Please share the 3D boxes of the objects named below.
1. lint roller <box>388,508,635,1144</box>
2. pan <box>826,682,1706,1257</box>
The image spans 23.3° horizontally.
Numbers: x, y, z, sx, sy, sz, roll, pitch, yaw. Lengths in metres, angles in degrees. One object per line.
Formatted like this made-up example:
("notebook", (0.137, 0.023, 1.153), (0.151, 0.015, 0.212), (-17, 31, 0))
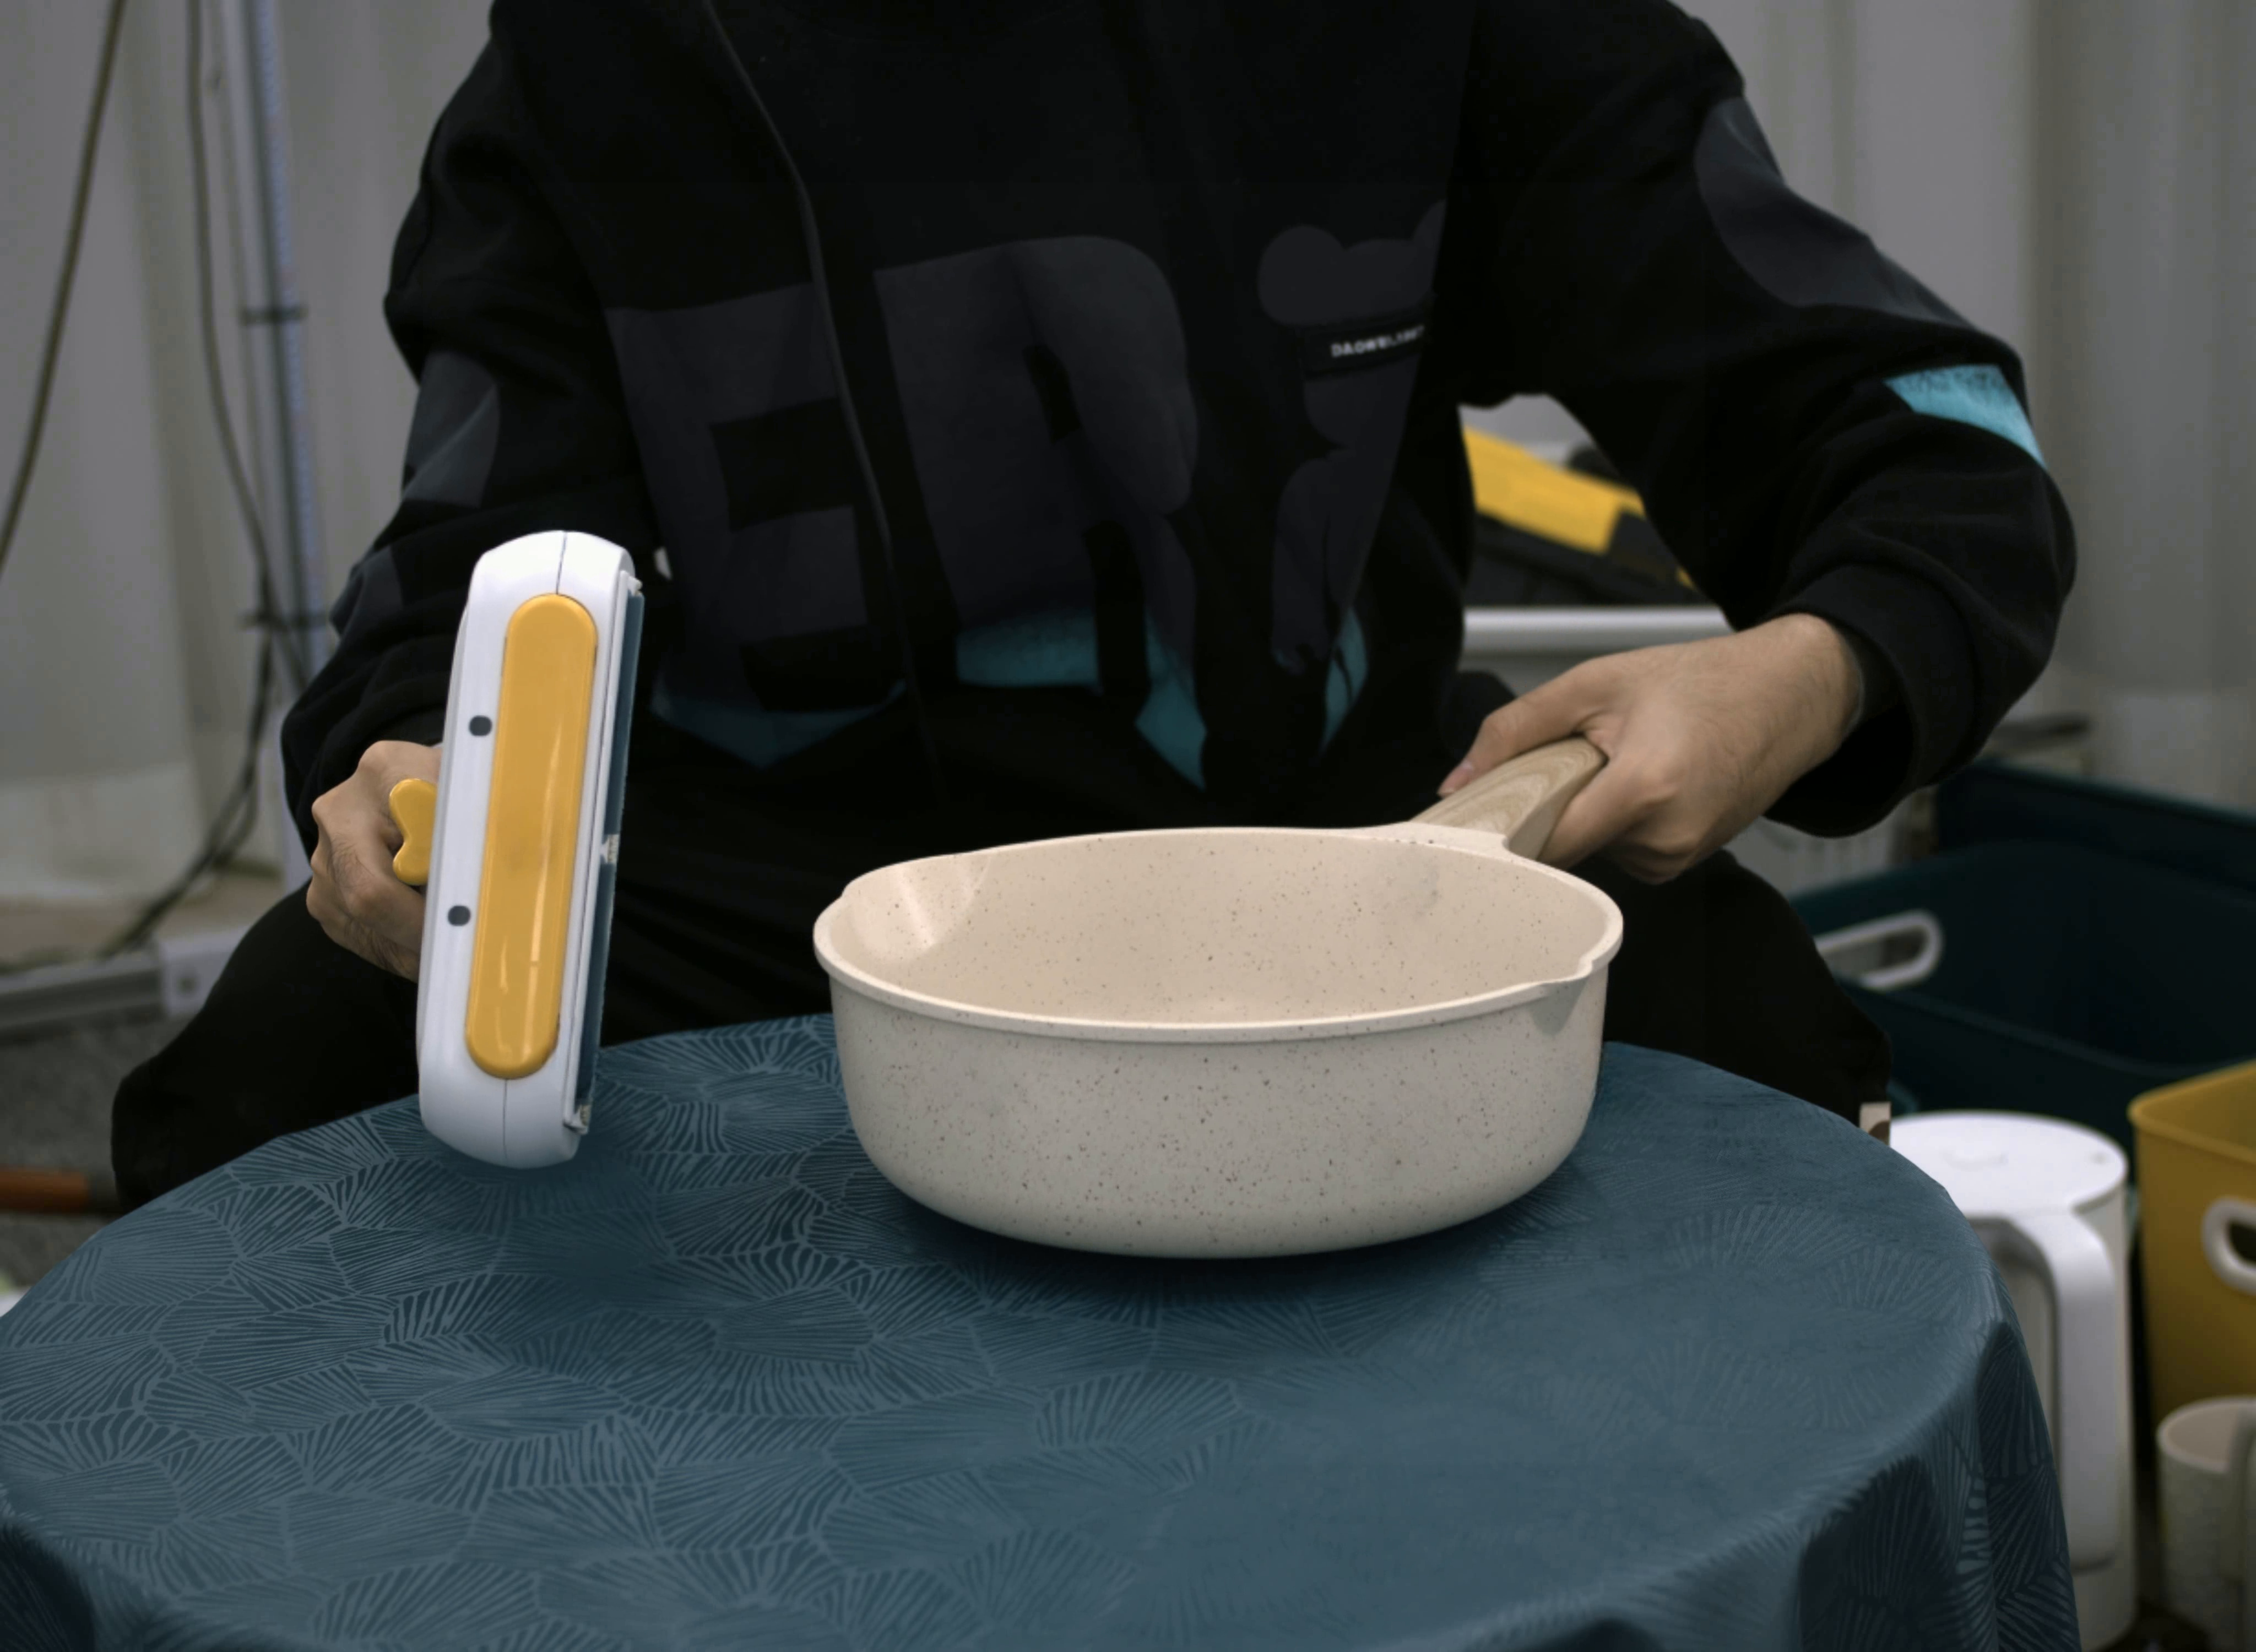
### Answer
("lint roller", (-0.195, 0.010, 1.709), (0.074, 0.194, 0.191), (2, -12, -8))
("pan", (0.083, 0.043, 1.773), (0.264, 0.102, 0.434), (5, 14, 33))
